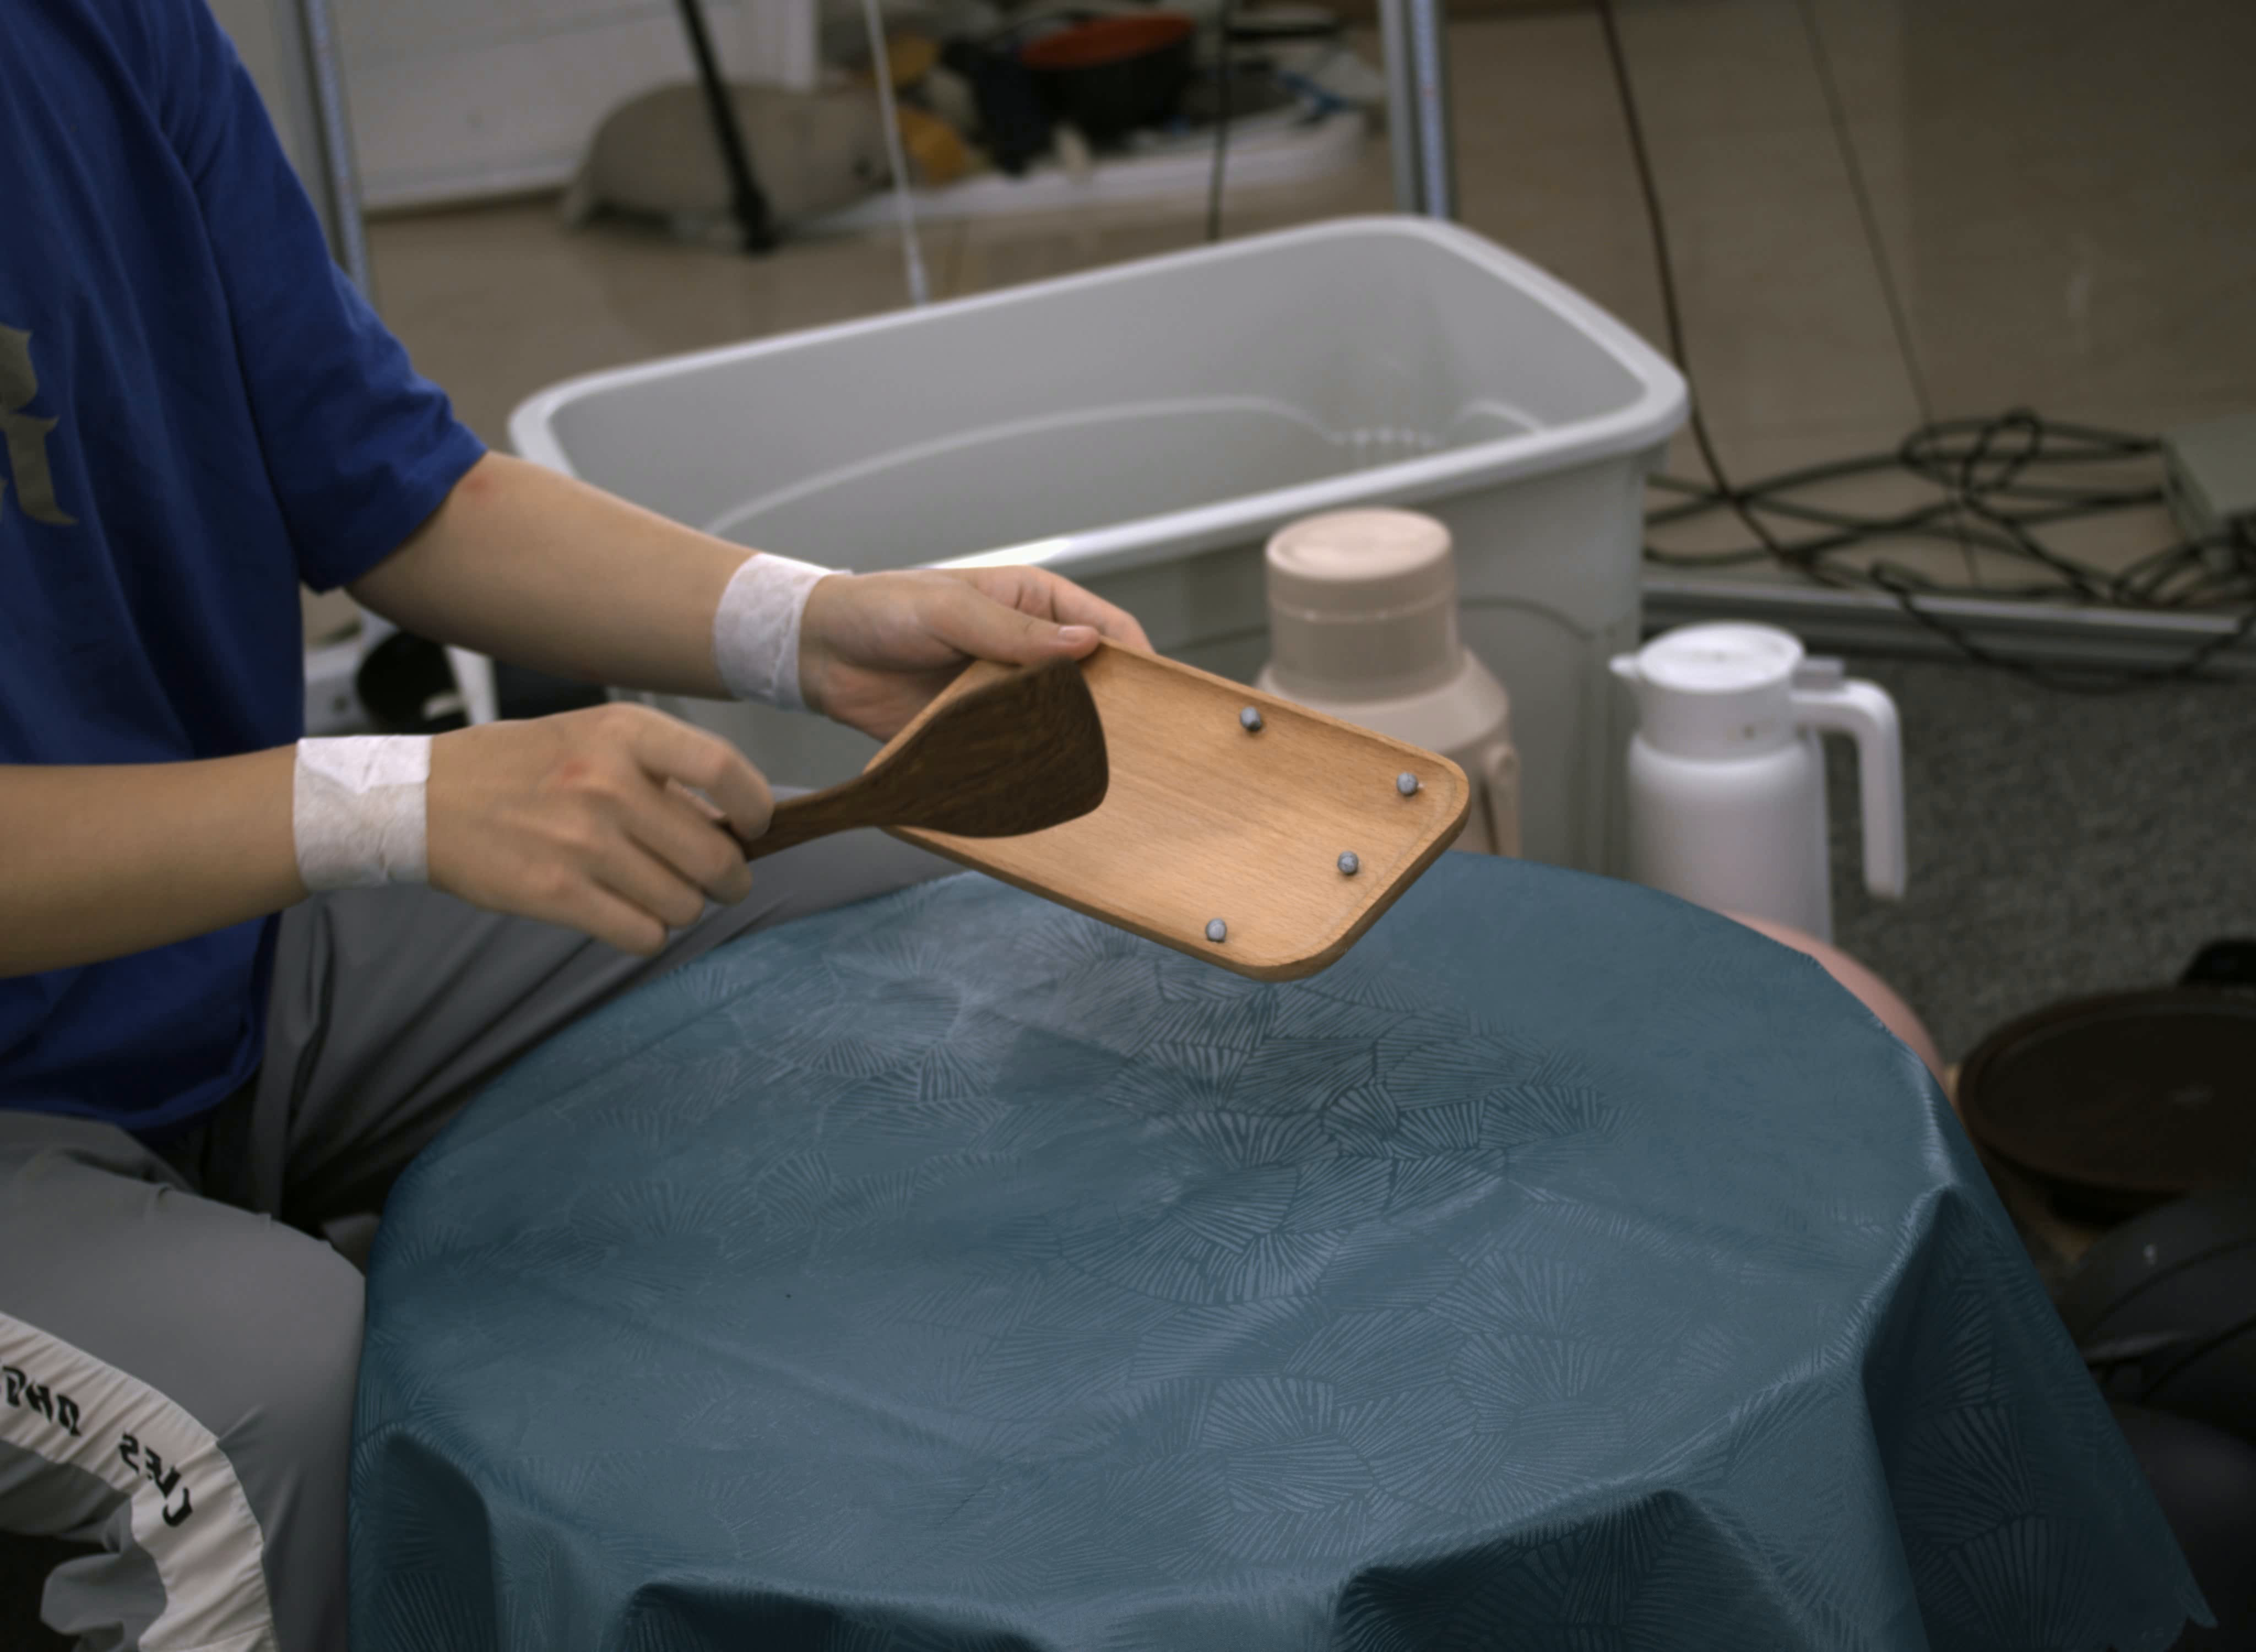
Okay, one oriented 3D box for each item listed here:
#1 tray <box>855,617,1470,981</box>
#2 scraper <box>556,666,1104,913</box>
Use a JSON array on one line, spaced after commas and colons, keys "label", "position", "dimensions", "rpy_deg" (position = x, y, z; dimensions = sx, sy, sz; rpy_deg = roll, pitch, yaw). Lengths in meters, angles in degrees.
[{"label": "tray", "position": [0.012, -0.012, 2.213], "dimensions": [0.248, 0.023, 0.129], "rpy_deg": [22, 53, 40]}, {"label": "scraper", "position": [-0.113, -0.005, 2.132], "dimensions": [0.211, 0.077, 0.010], "rpy_deg": [-16, 42, 1]}]
